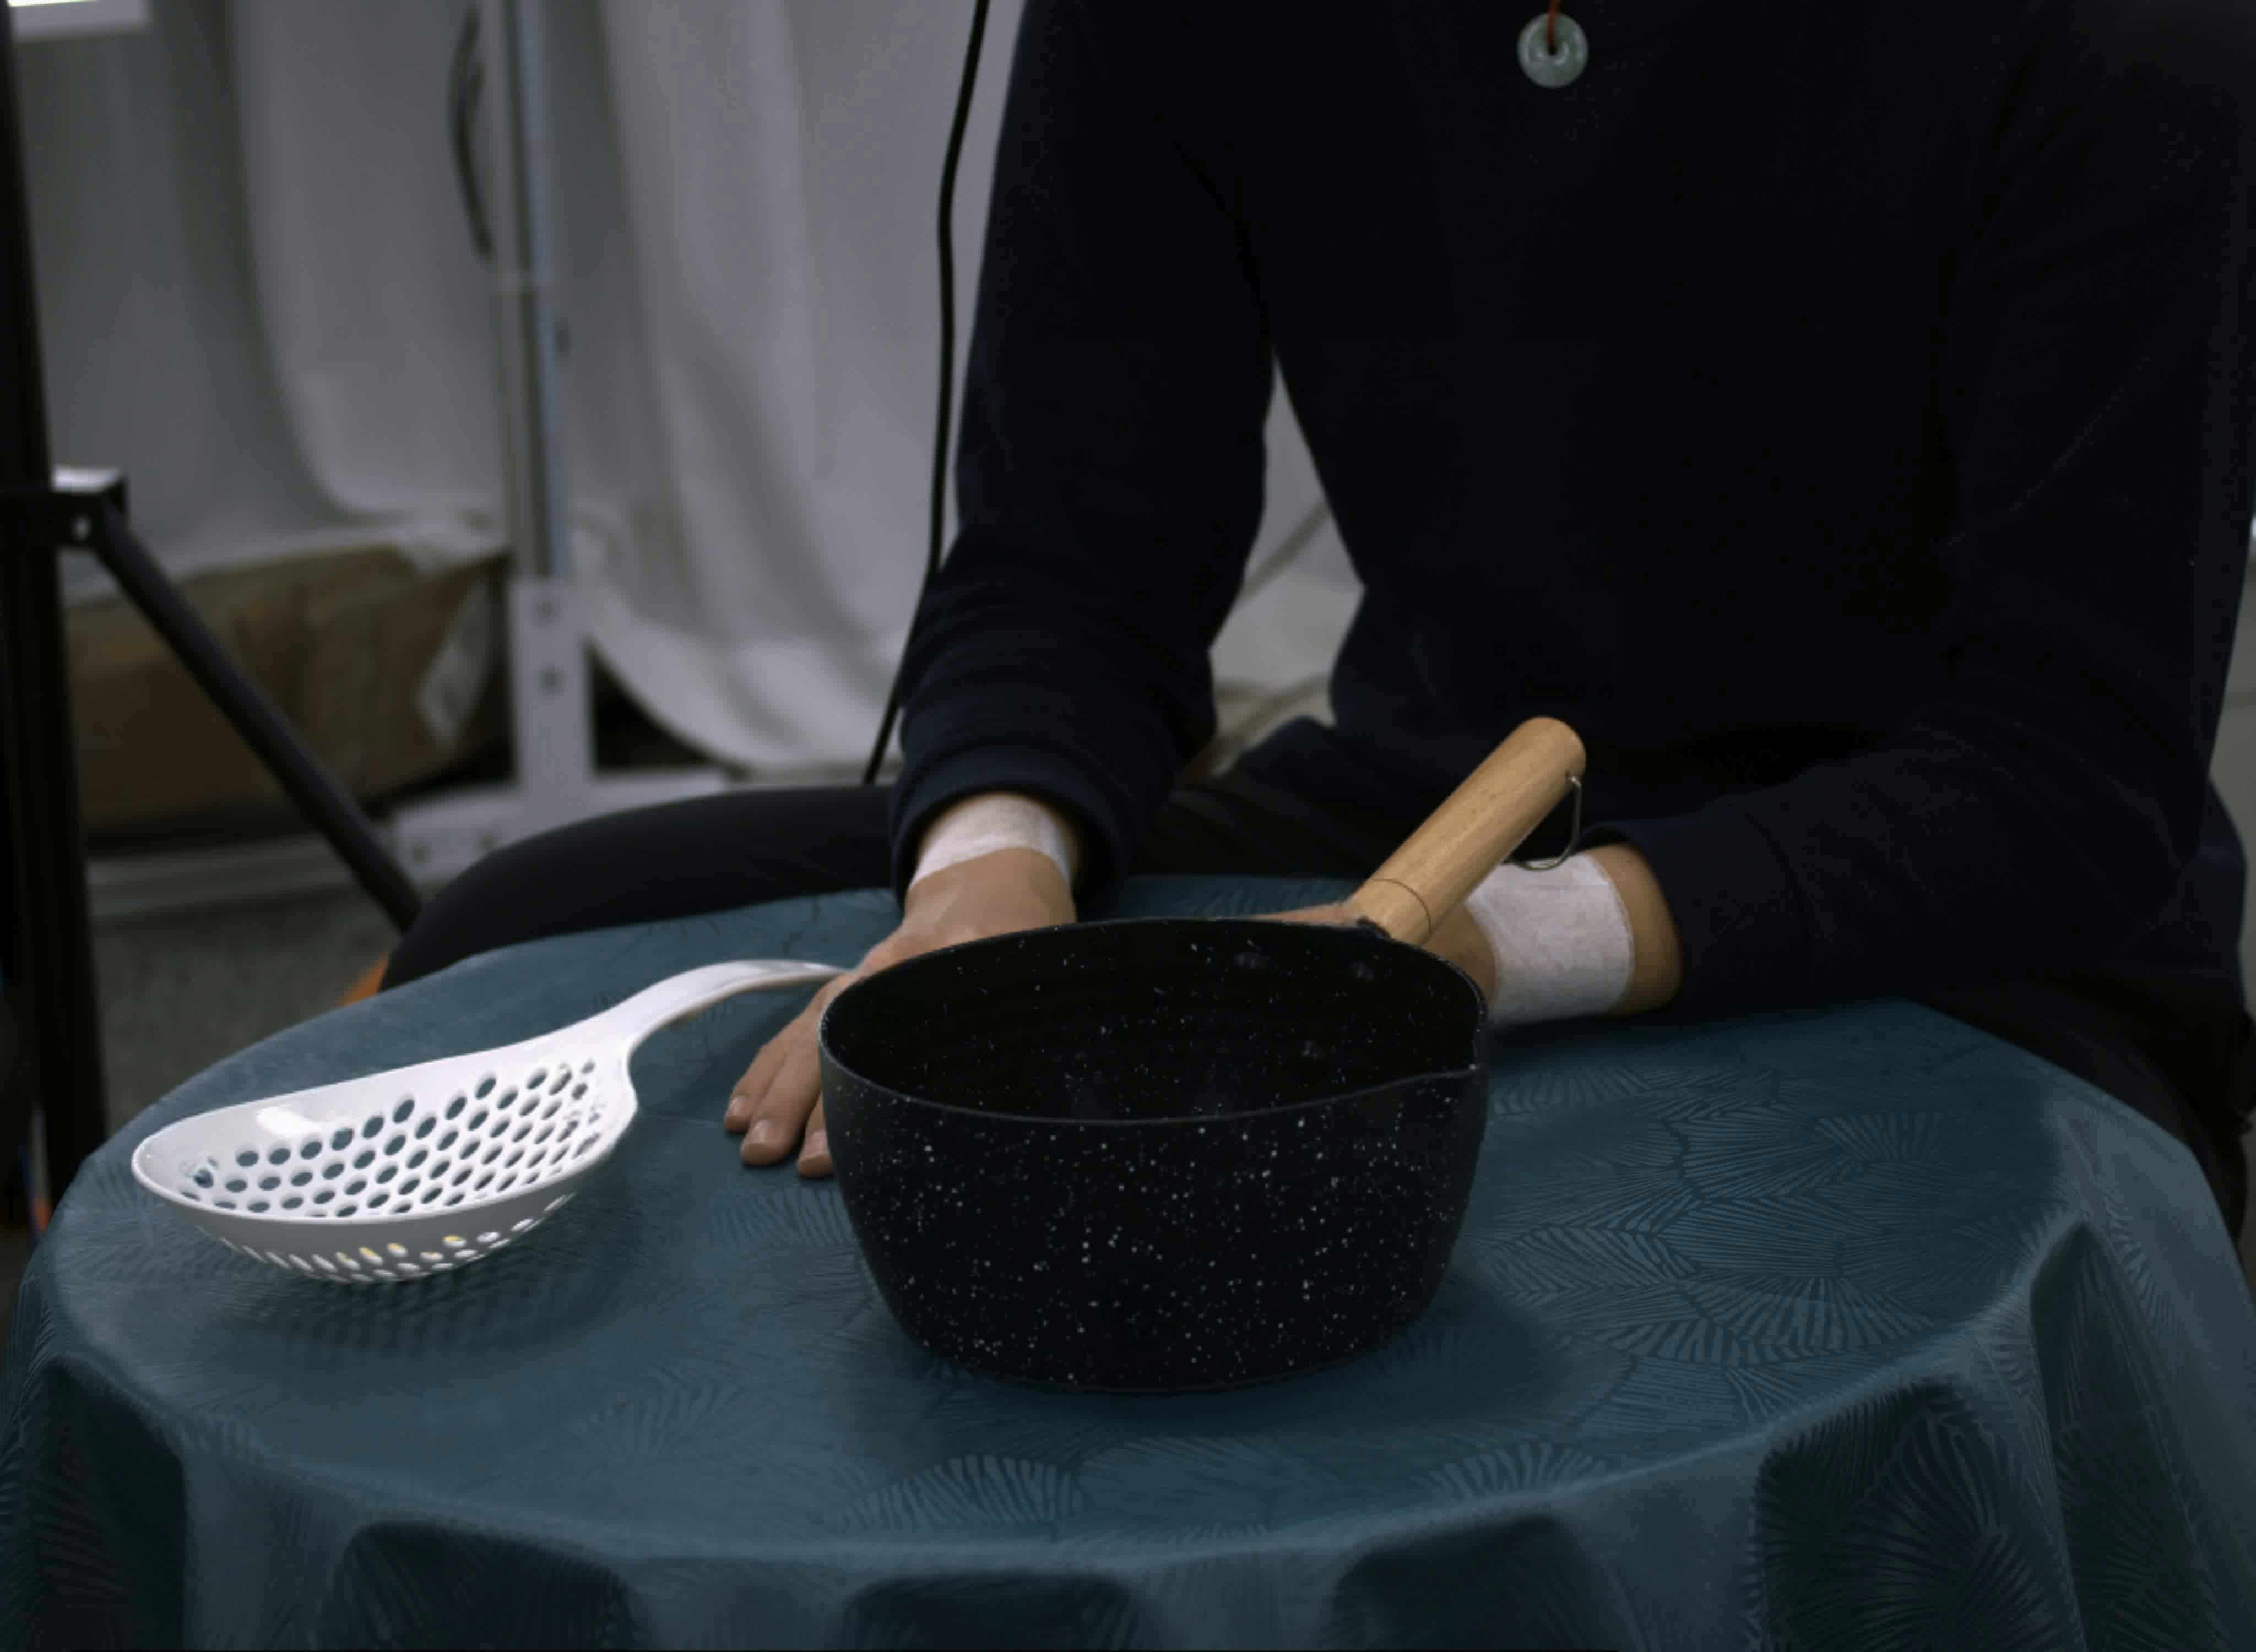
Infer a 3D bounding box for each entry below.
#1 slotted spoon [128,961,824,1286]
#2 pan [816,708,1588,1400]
[{"bbox_3d":[-0.168,0.077,1.617,0.139,0.050,0.343,3,18,24],"label":"slotted spoon"},{"bbox_3d":[0.047,0.060,1.522,0.211,0.108,0.337,6,19,30],"label":"pan"}]
